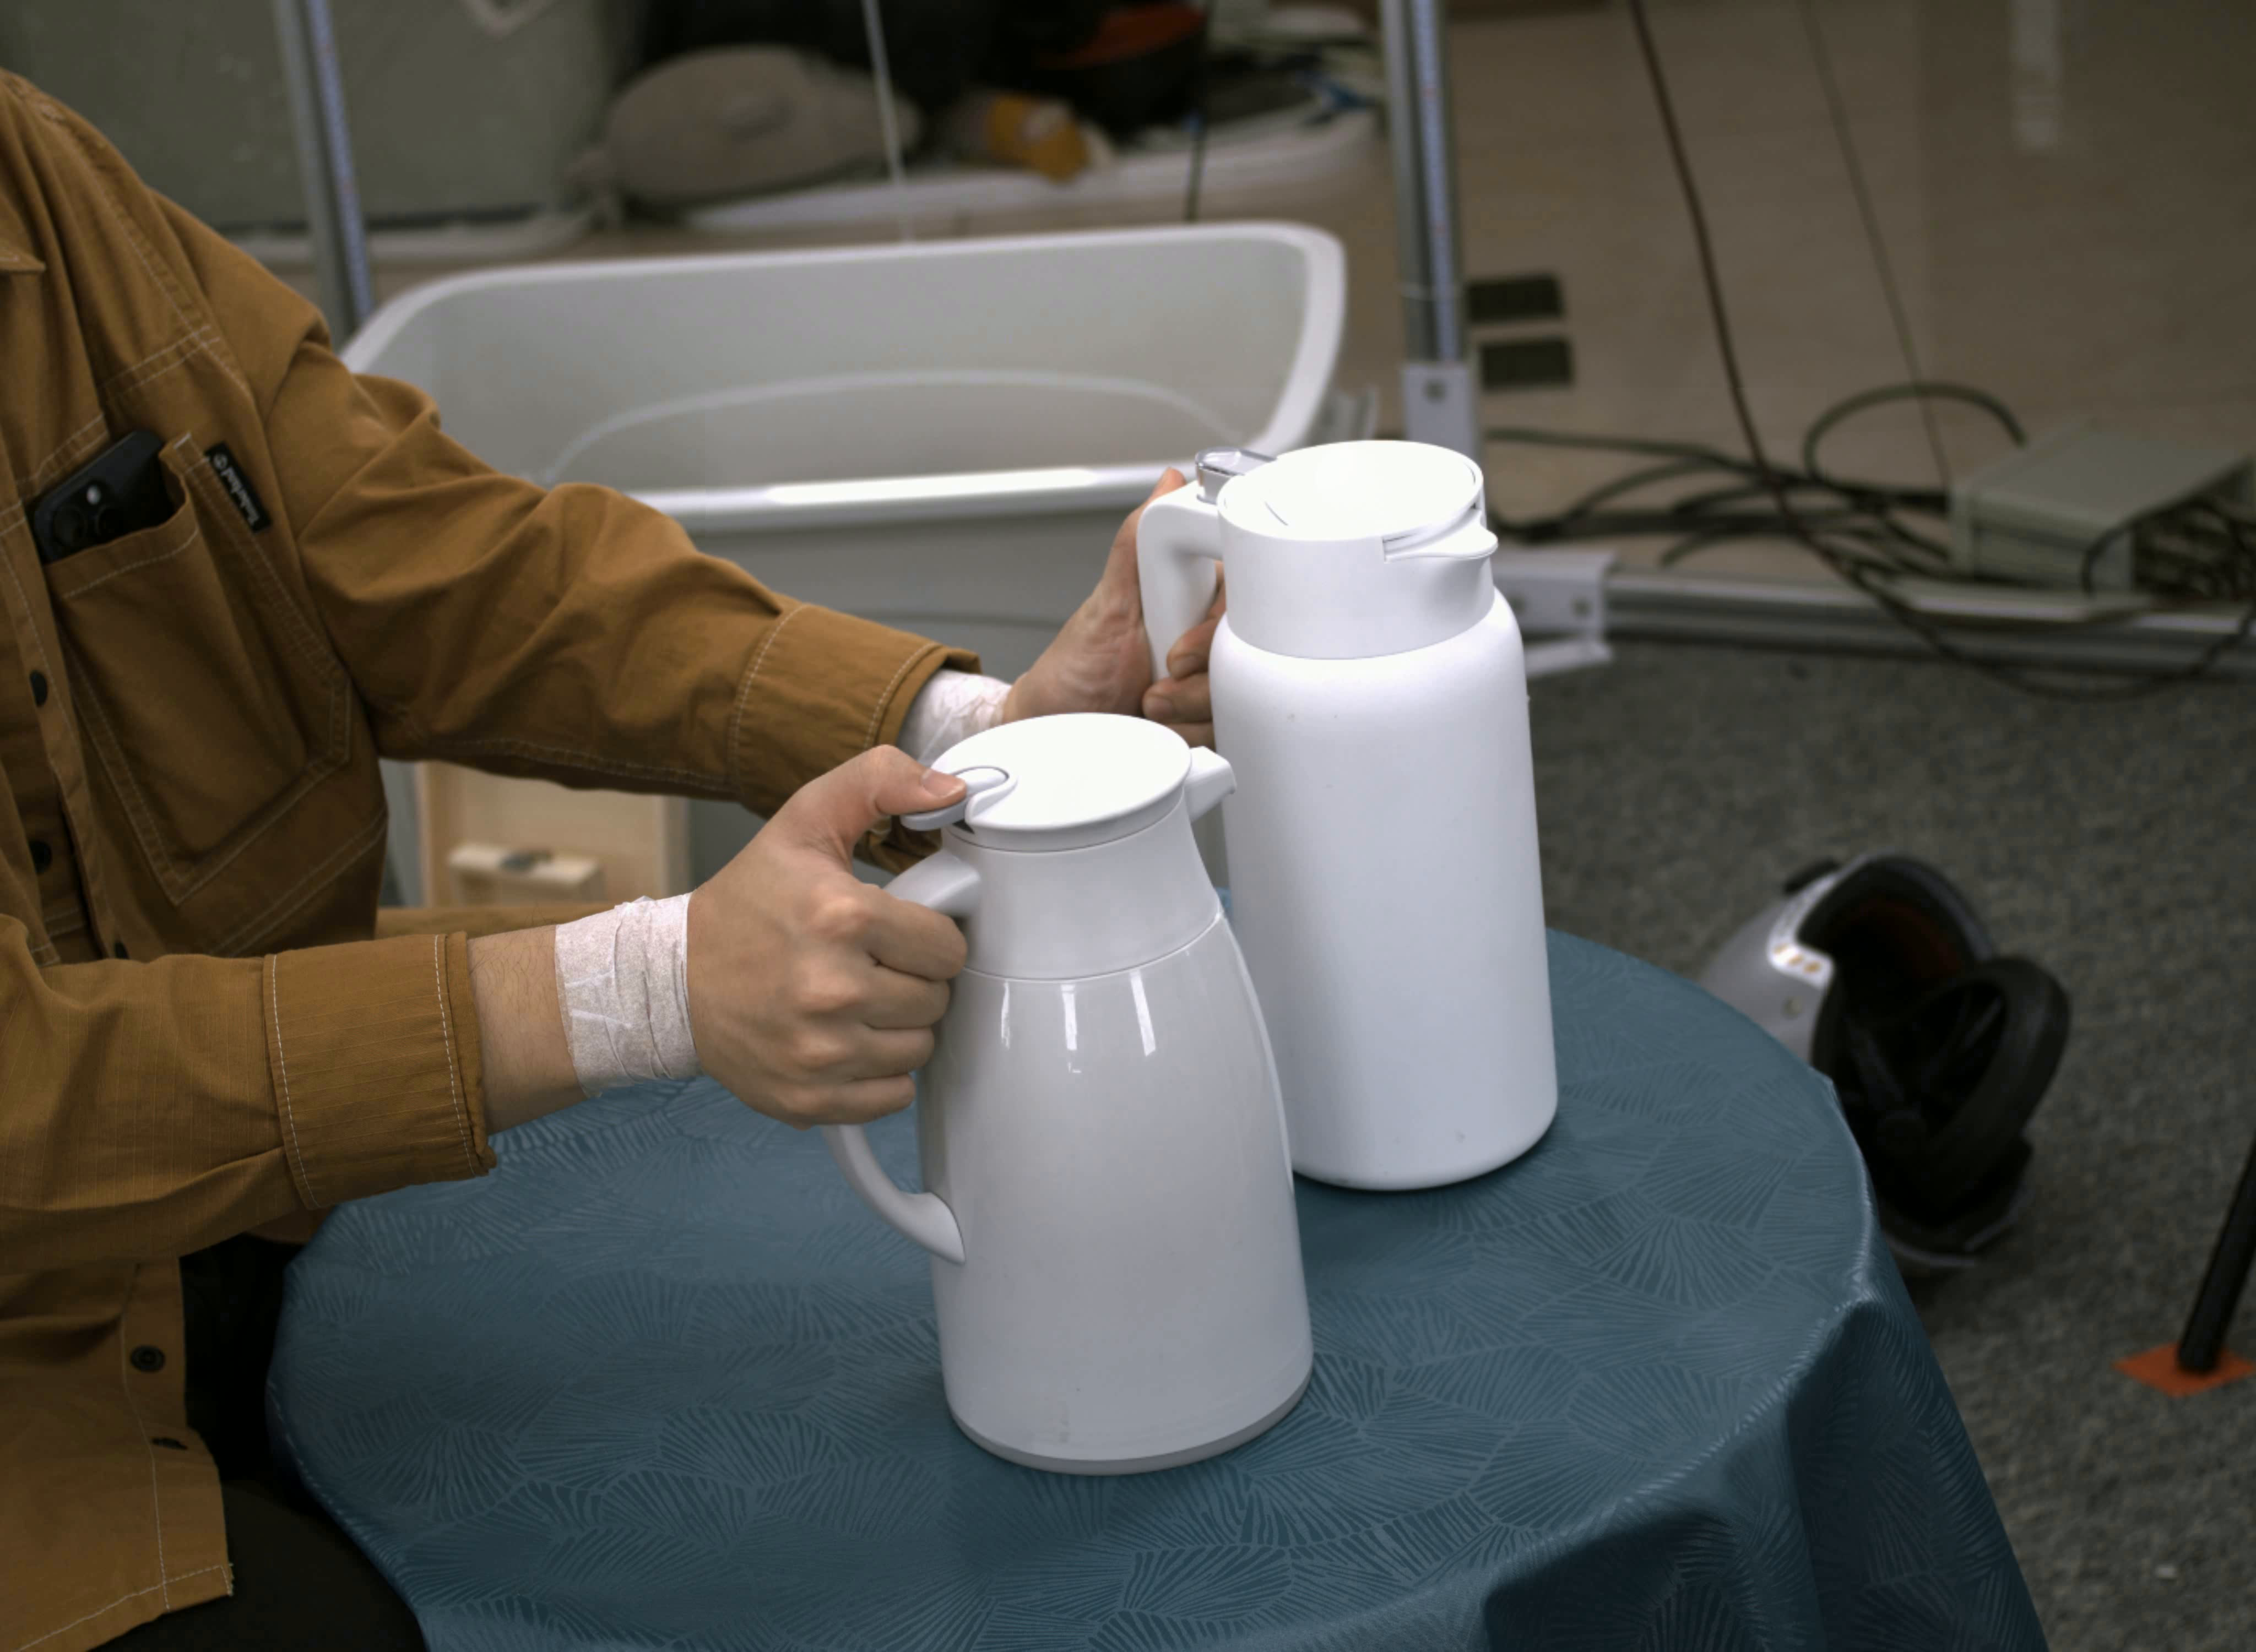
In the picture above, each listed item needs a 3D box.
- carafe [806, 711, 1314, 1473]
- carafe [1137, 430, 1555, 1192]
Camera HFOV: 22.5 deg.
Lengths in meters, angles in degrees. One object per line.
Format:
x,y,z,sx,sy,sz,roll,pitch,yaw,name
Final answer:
-0.028,0.091,1.960,0.167,0.252,0.131,-20,28,-24,carafe
0.080,-0.008,2.124,0.171,0.273,0.122,18,37,41,carafe
